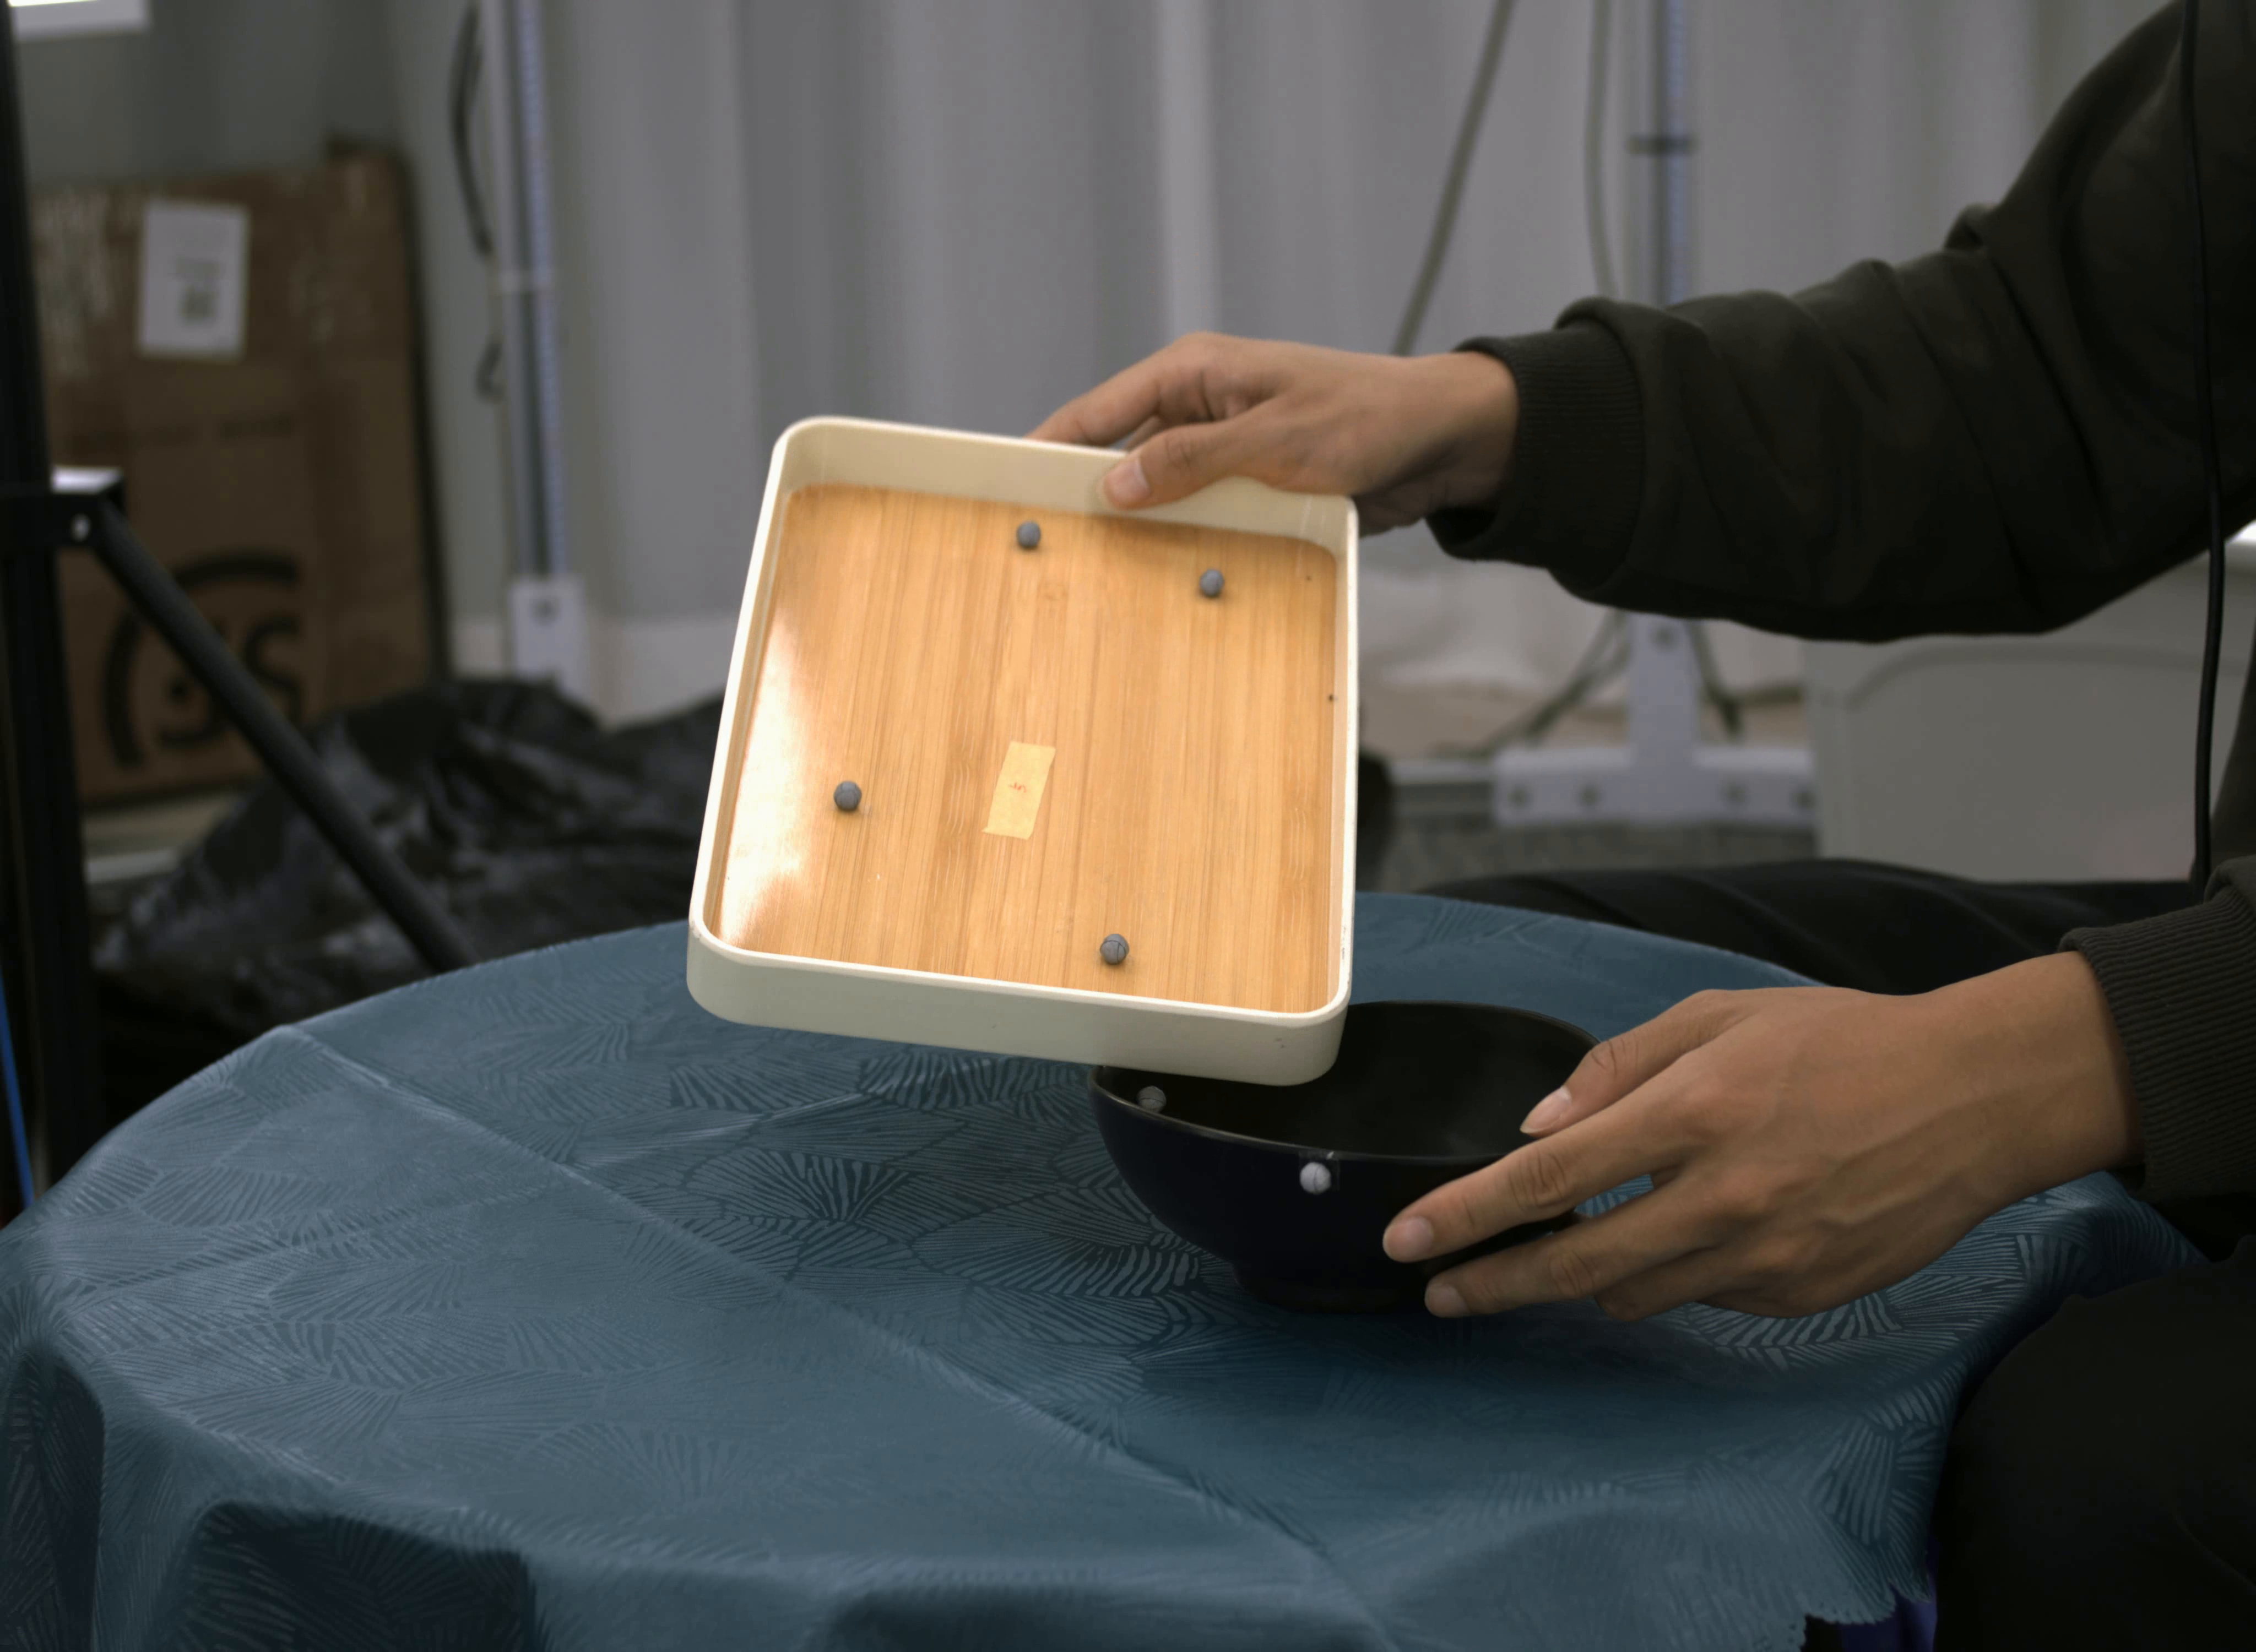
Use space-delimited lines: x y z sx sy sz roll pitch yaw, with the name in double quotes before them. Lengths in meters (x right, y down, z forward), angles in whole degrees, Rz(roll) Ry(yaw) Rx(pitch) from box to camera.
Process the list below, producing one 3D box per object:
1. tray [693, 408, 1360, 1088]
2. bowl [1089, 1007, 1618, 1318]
"tray" -0.025 -0.030 1.622 0.190 0.027 0.302 6 35 -1
"bowl" 0.062 0.097 1.476 0.134 0.067 0.174 -12 14 -33
